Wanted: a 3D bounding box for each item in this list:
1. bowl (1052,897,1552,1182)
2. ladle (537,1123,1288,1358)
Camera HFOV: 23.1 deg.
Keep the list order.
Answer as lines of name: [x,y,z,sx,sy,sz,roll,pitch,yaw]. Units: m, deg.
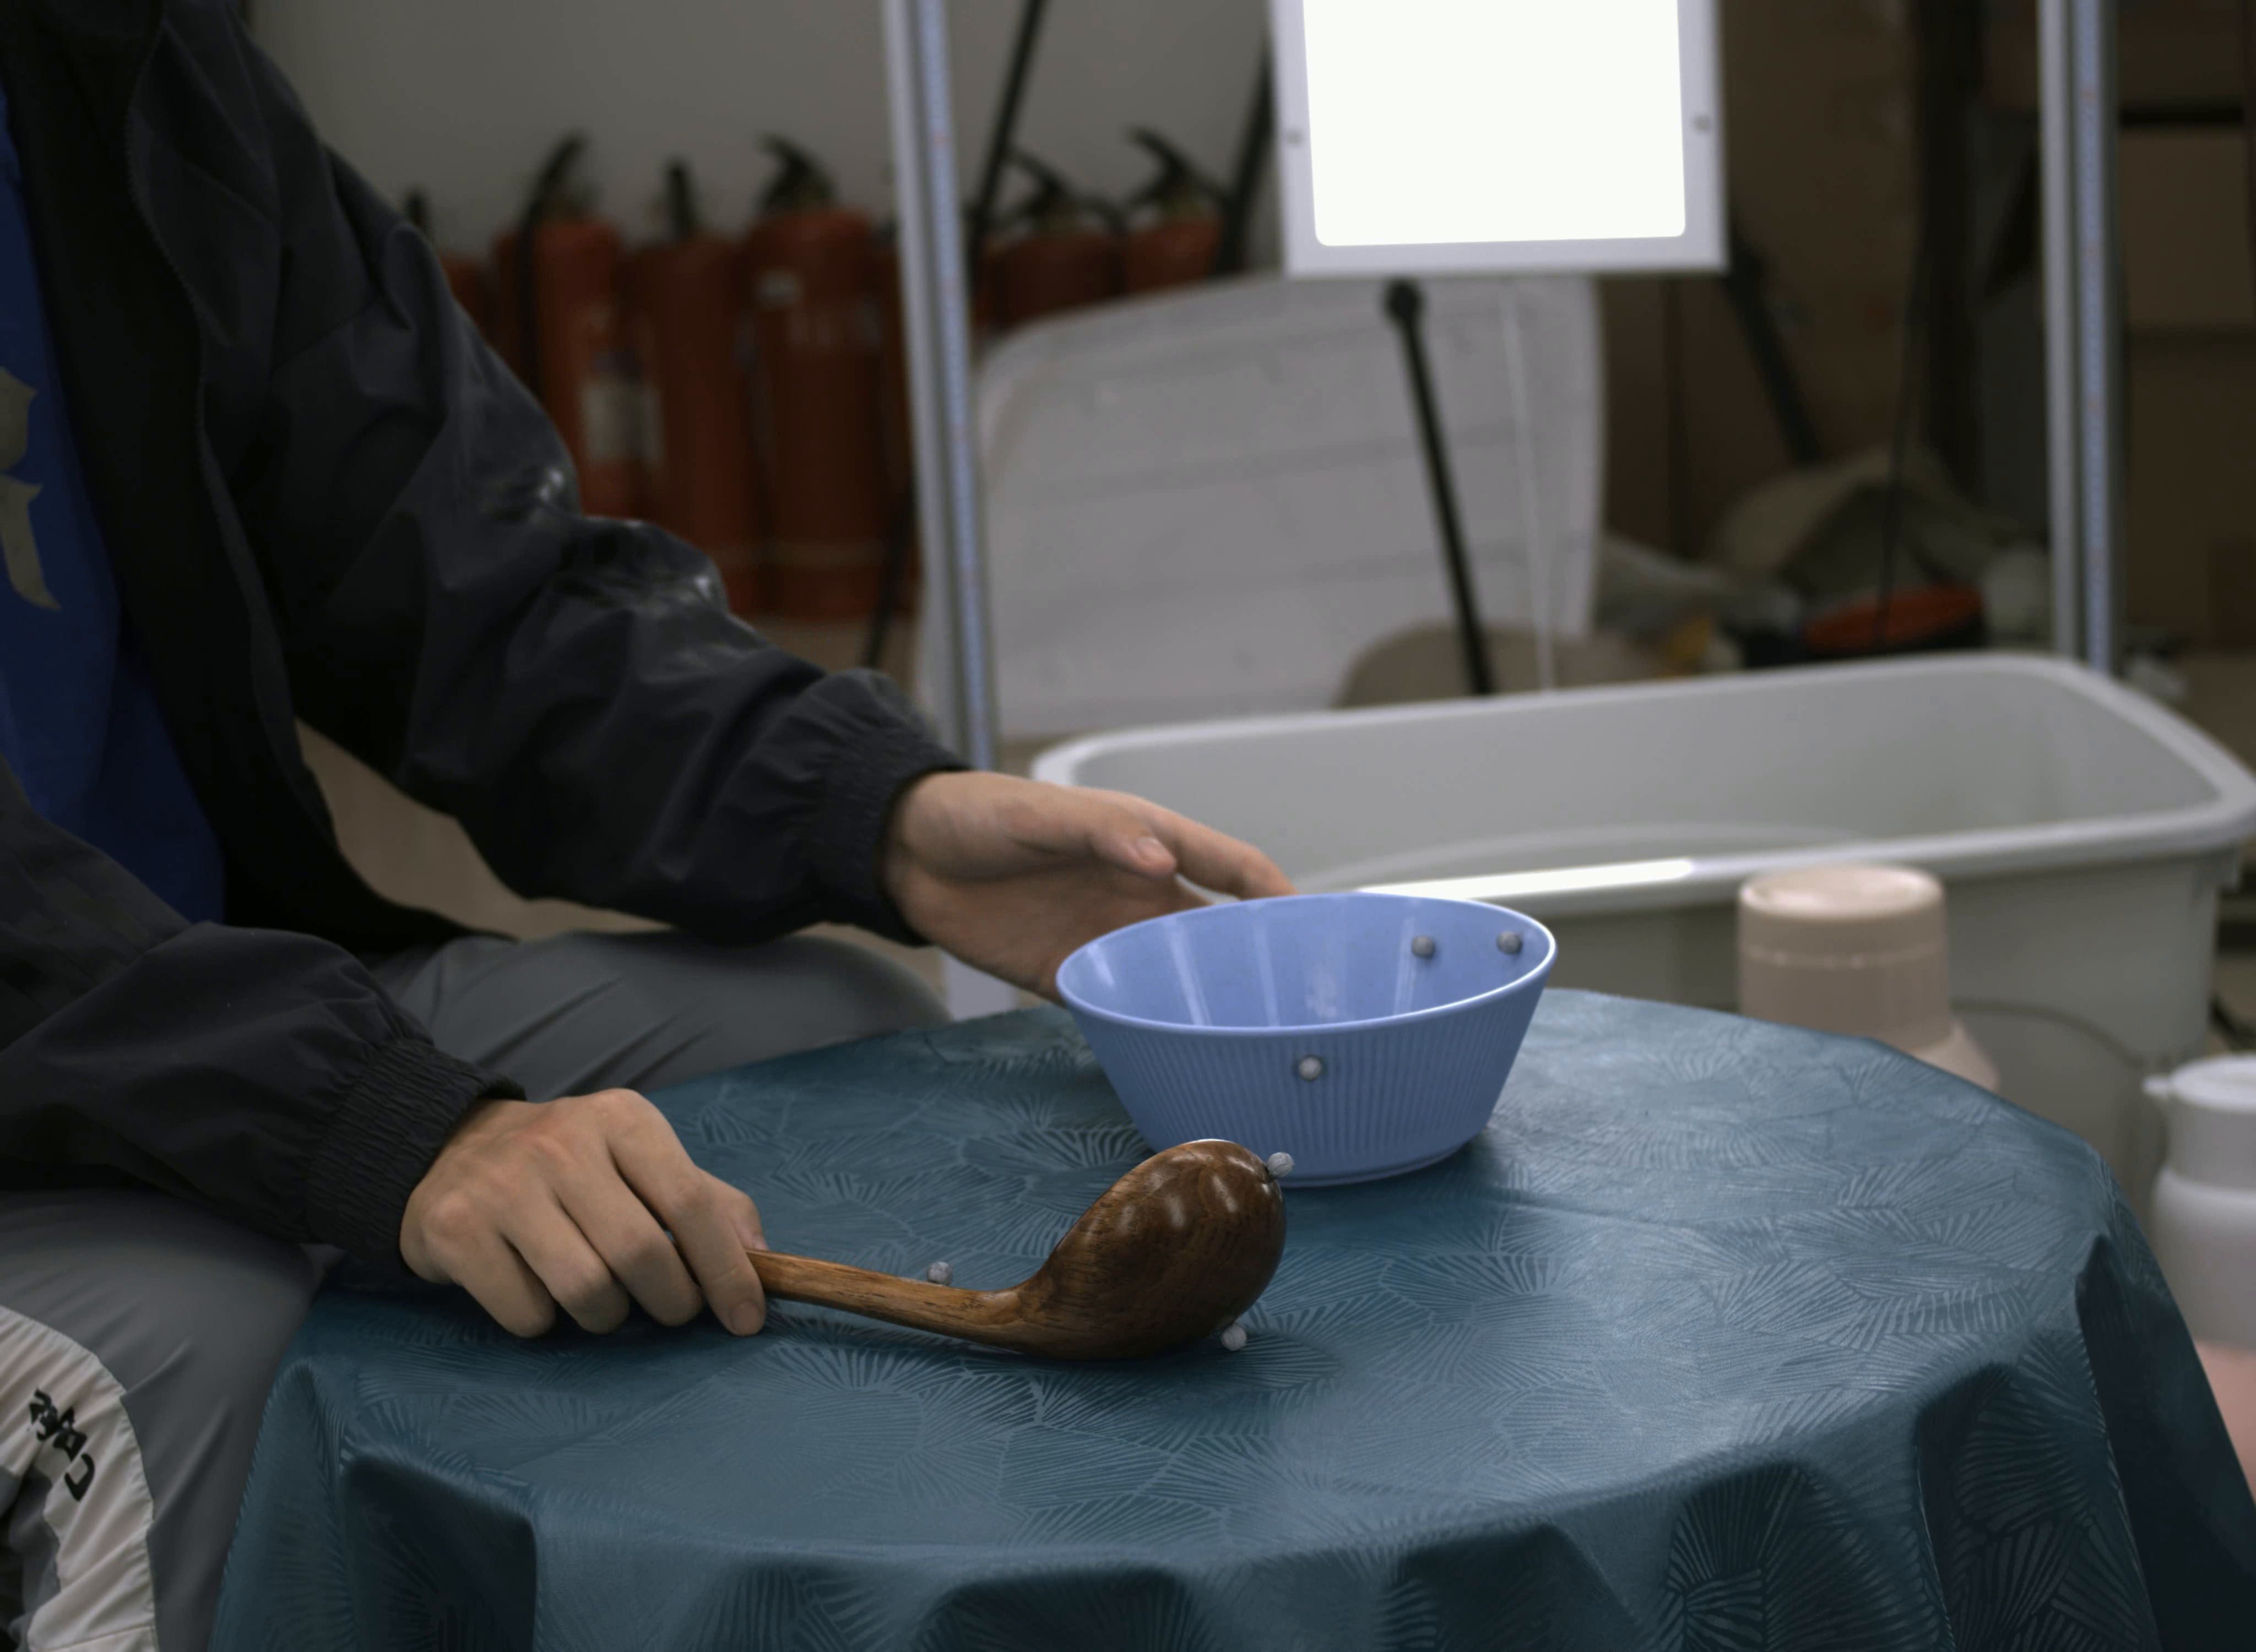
bowl: [0.063,0.077,1.928,0.175,0.070,0.176,-5,13,0]
ladle: [-0.074,0.126,1.780,0.280,0.081,0.076,3,60,37]
